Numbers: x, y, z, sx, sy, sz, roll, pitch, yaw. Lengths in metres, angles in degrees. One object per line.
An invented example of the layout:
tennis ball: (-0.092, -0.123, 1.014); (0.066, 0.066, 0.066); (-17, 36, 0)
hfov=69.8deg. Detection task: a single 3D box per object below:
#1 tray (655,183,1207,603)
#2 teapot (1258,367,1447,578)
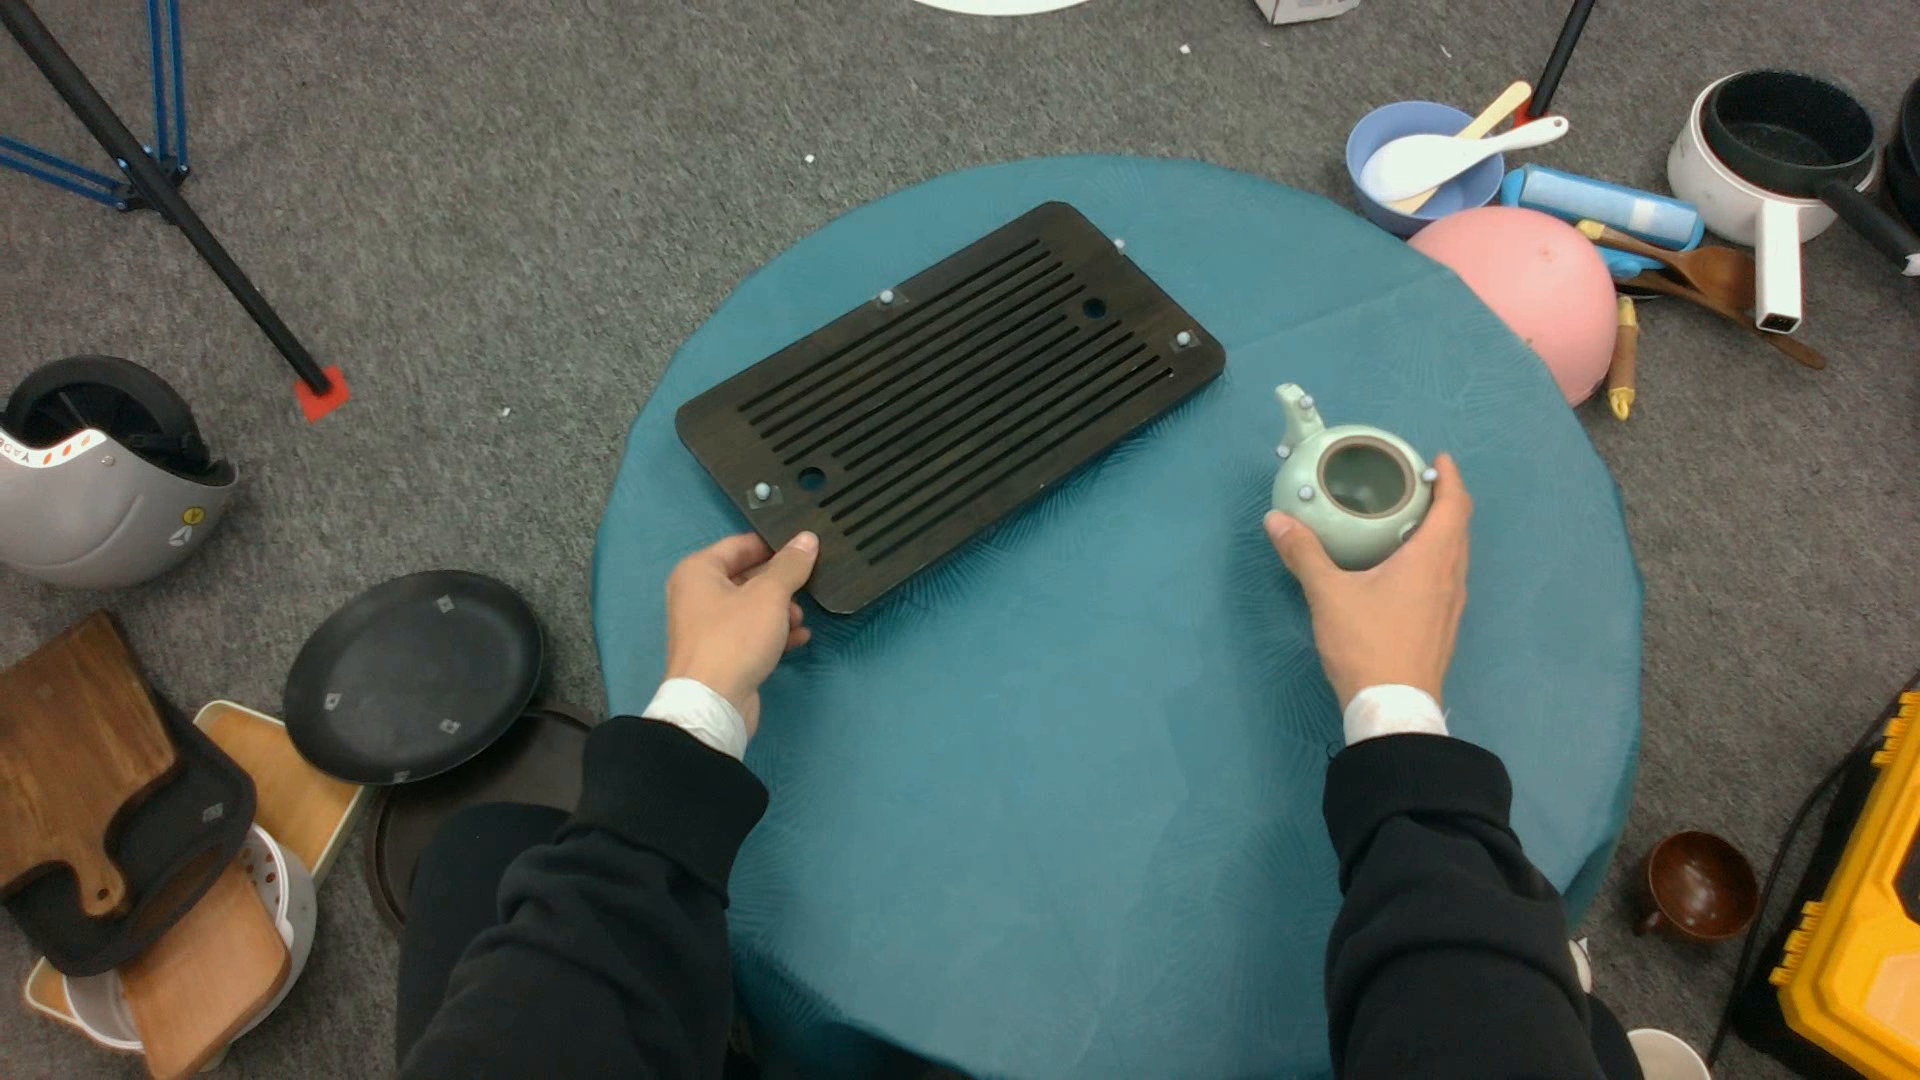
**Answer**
tray: (-0.012, -0.098, 0.824); (0.307, 0.018, 0.170); (-34, 68, -21)
teapot: (0.213, -0.030, 0.773); (0.088, 0.074, 0.144); (-30, 65, -14)
